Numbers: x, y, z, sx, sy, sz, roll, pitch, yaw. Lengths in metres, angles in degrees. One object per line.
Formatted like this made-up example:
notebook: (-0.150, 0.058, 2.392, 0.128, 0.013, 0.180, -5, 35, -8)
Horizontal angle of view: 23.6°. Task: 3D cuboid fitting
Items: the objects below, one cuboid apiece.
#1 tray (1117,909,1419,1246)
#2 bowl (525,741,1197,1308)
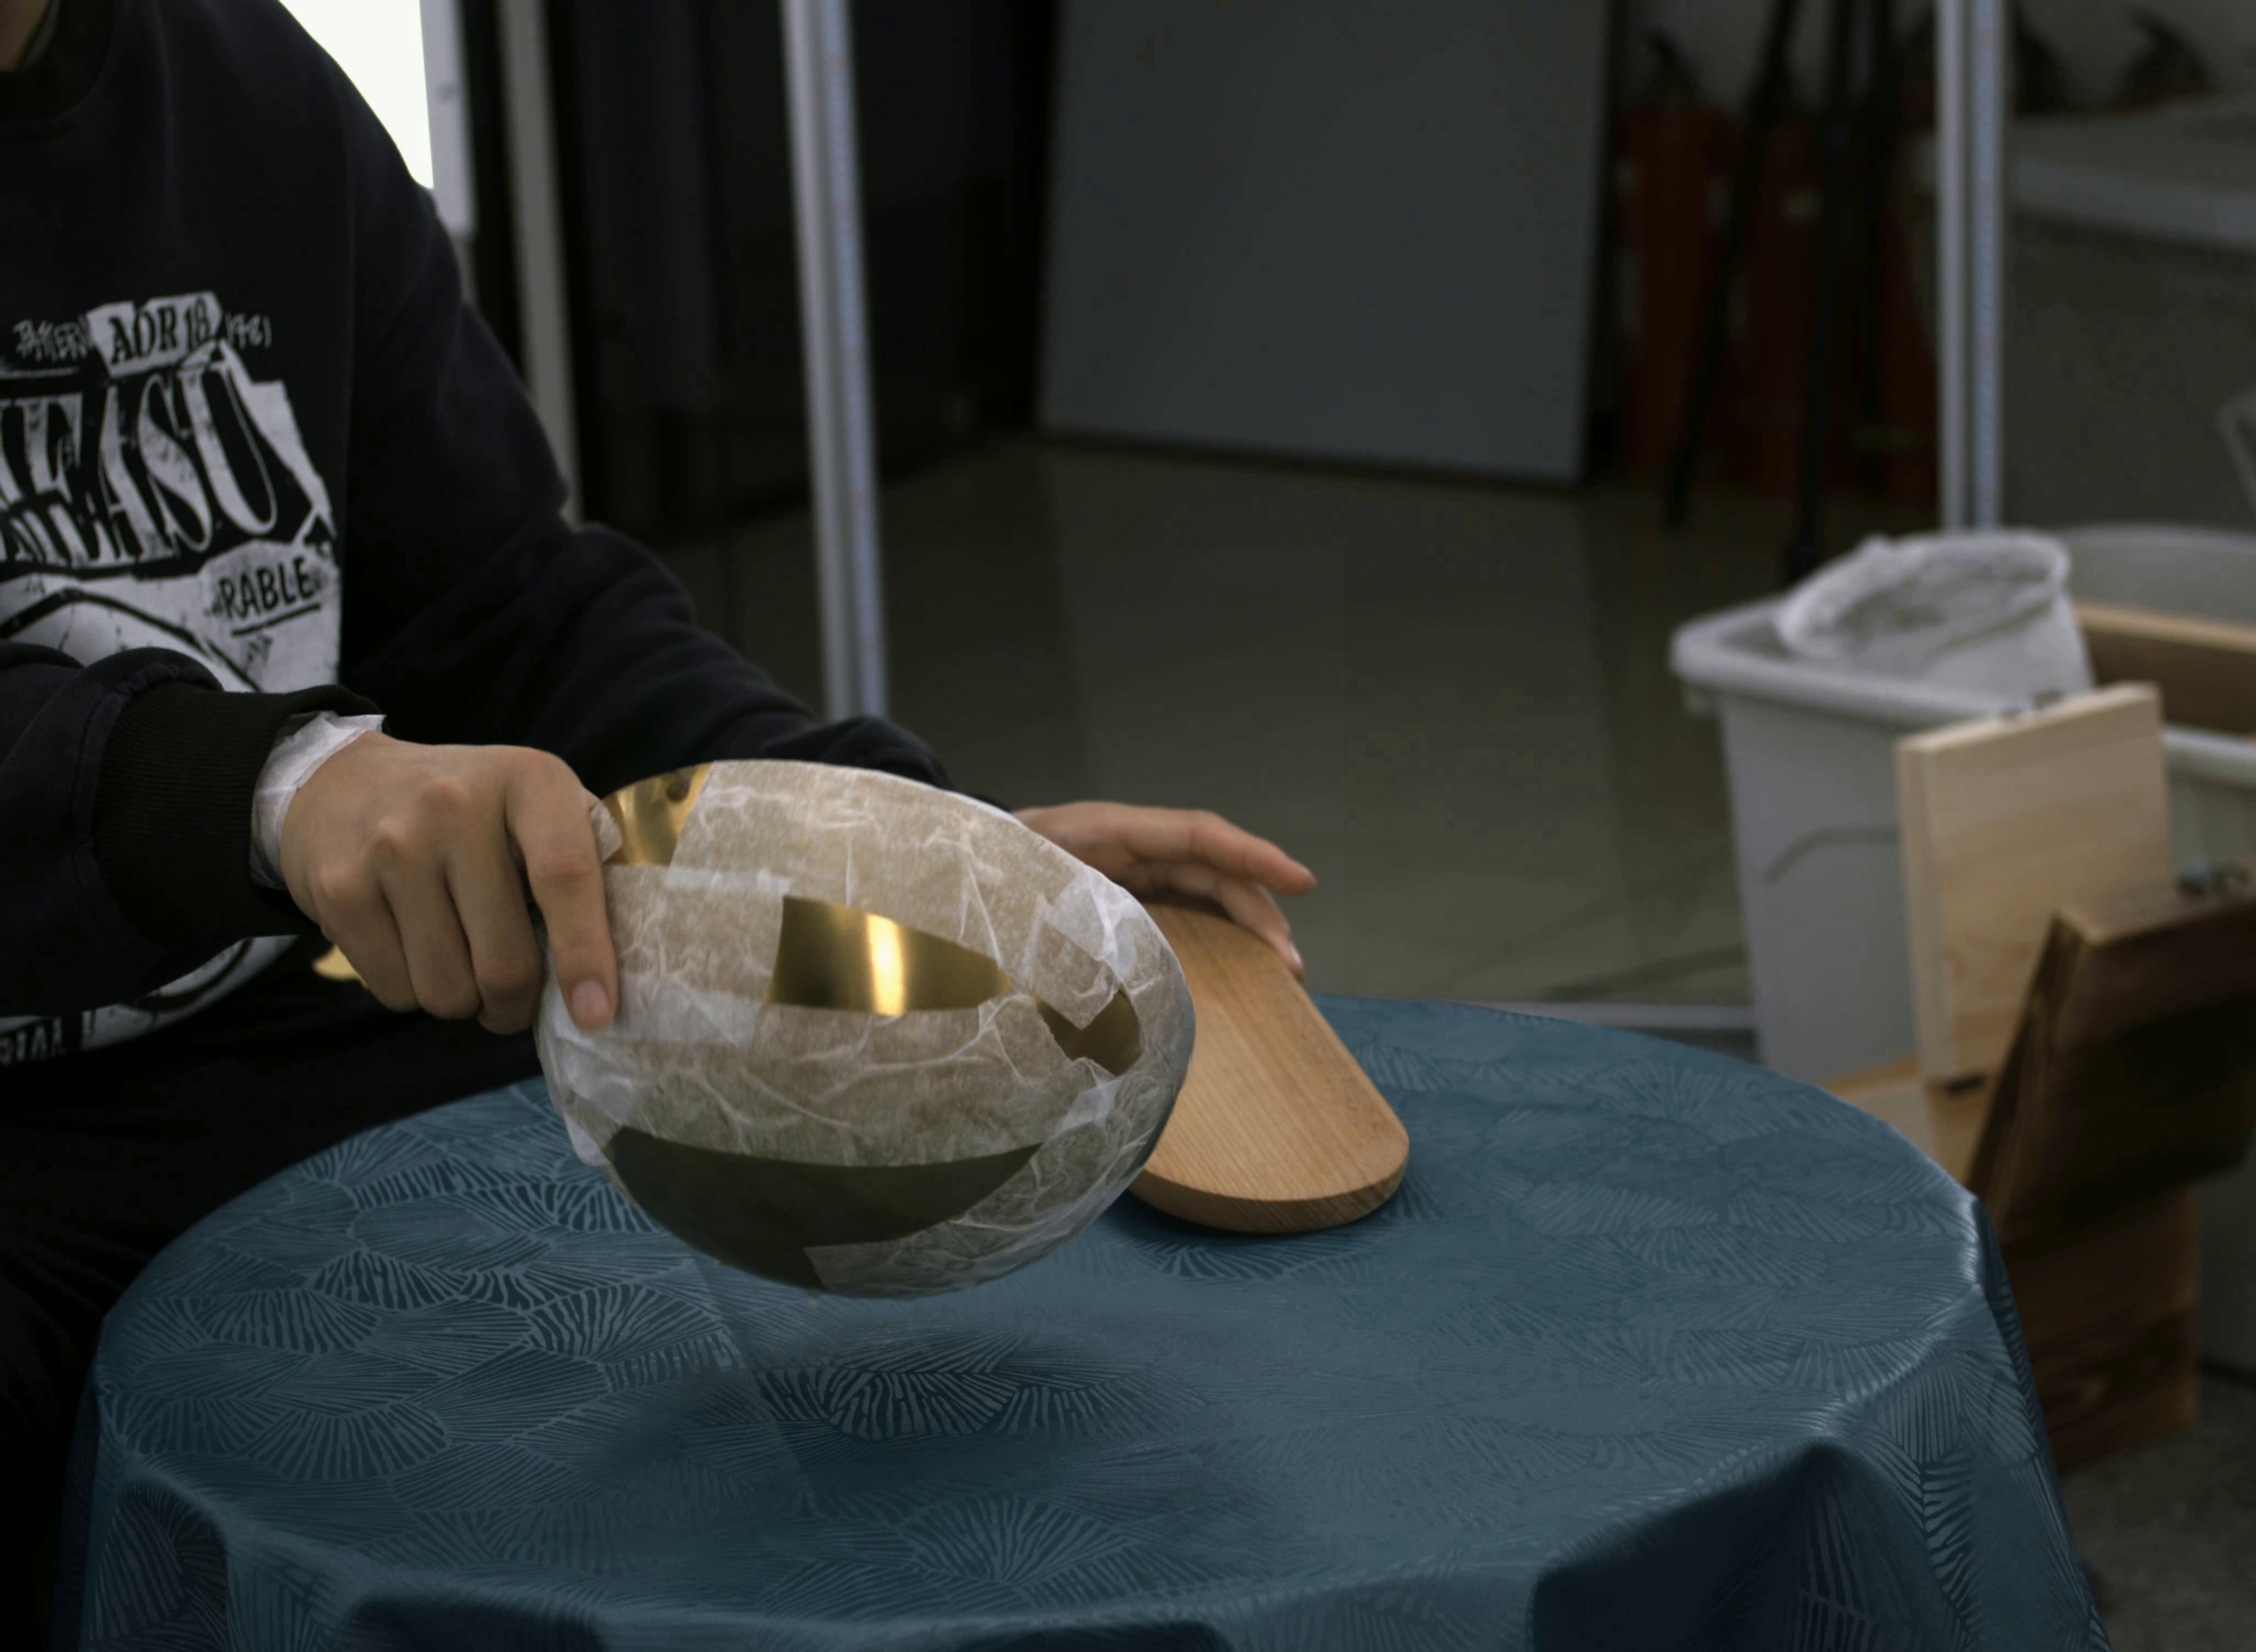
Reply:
tray: (0.024, 0.082, 1.809, 0.099, 0.020, 0.233, -6, 26, -16)
bowl: (-0.086, 0.078, 1.557, 0.214, 0.214, 0.095, 2, 51, 19)
